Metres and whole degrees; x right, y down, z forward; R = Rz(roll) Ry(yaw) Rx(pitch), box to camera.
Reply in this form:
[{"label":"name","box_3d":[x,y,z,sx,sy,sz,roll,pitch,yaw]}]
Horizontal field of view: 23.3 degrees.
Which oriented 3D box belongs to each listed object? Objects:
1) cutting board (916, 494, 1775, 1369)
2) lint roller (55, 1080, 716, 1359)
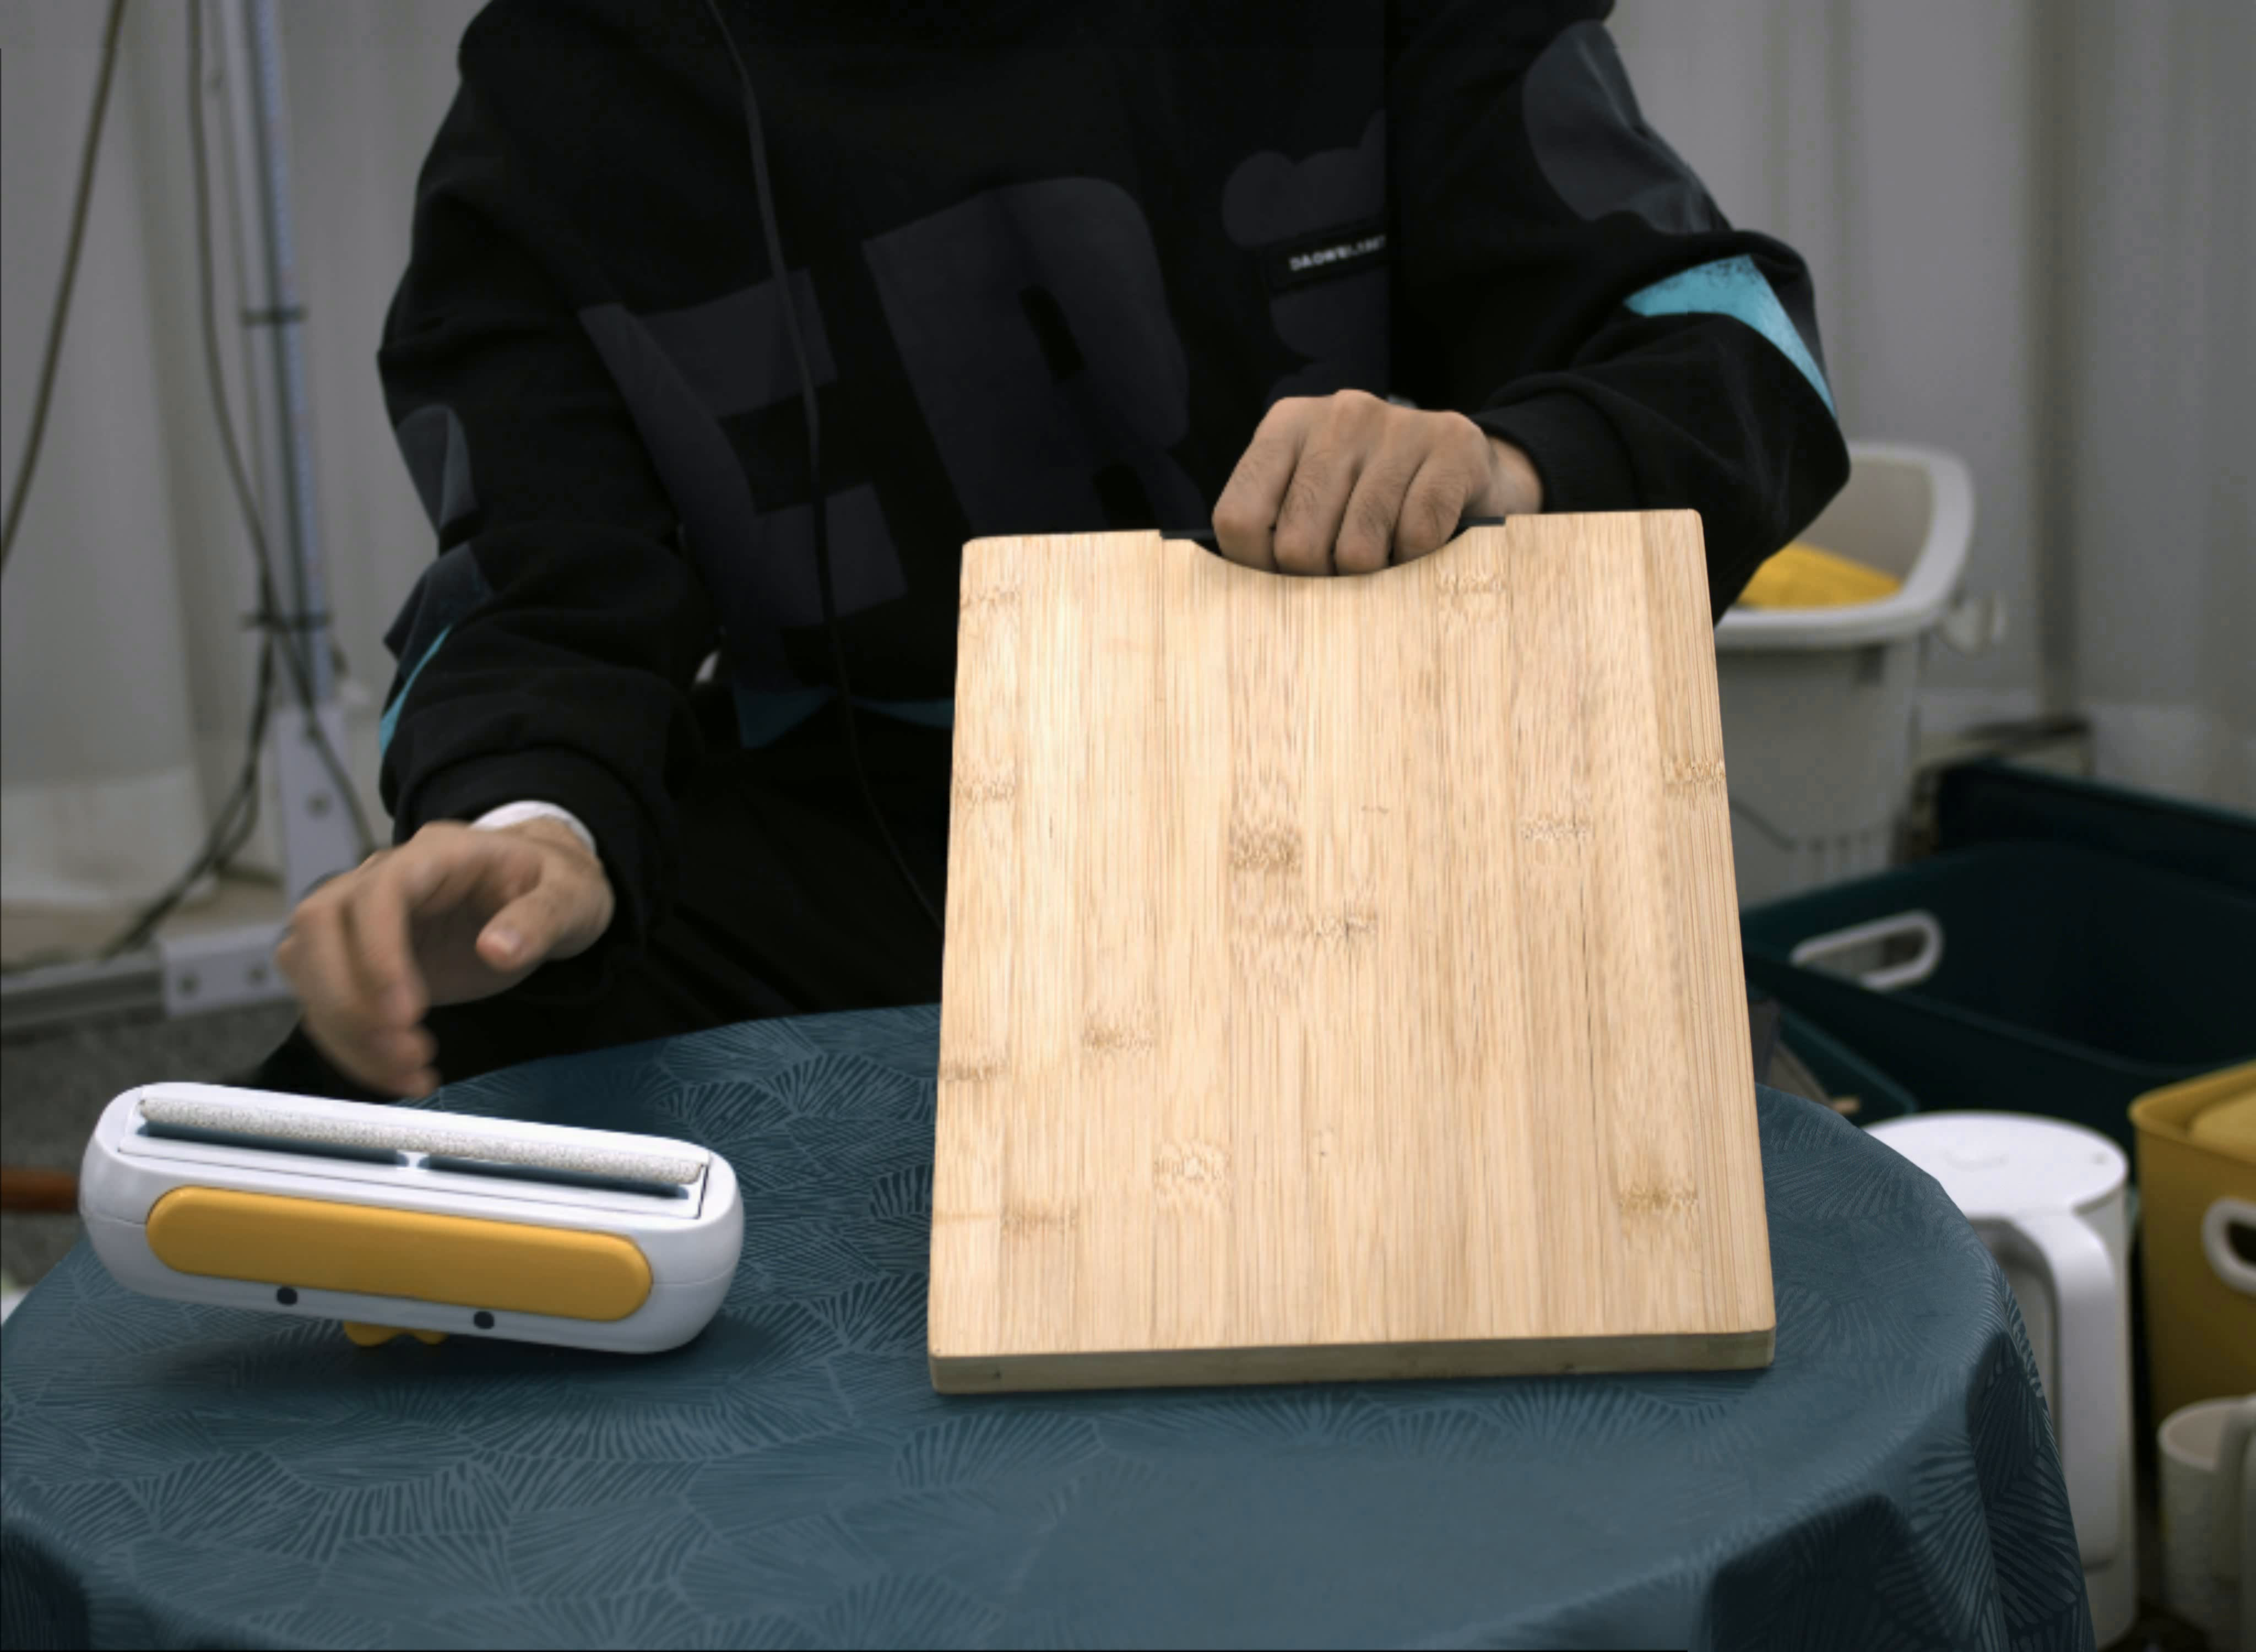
[{"label":"cutting board","box_3d":[0.065,0.027,1.663,0.250,0.023,0.354,-3,45,3]},{"label":"lint roller","box_3d":[-0.213,0.107,1.656,0.192,0.074,0.193,3,13,3]}]
